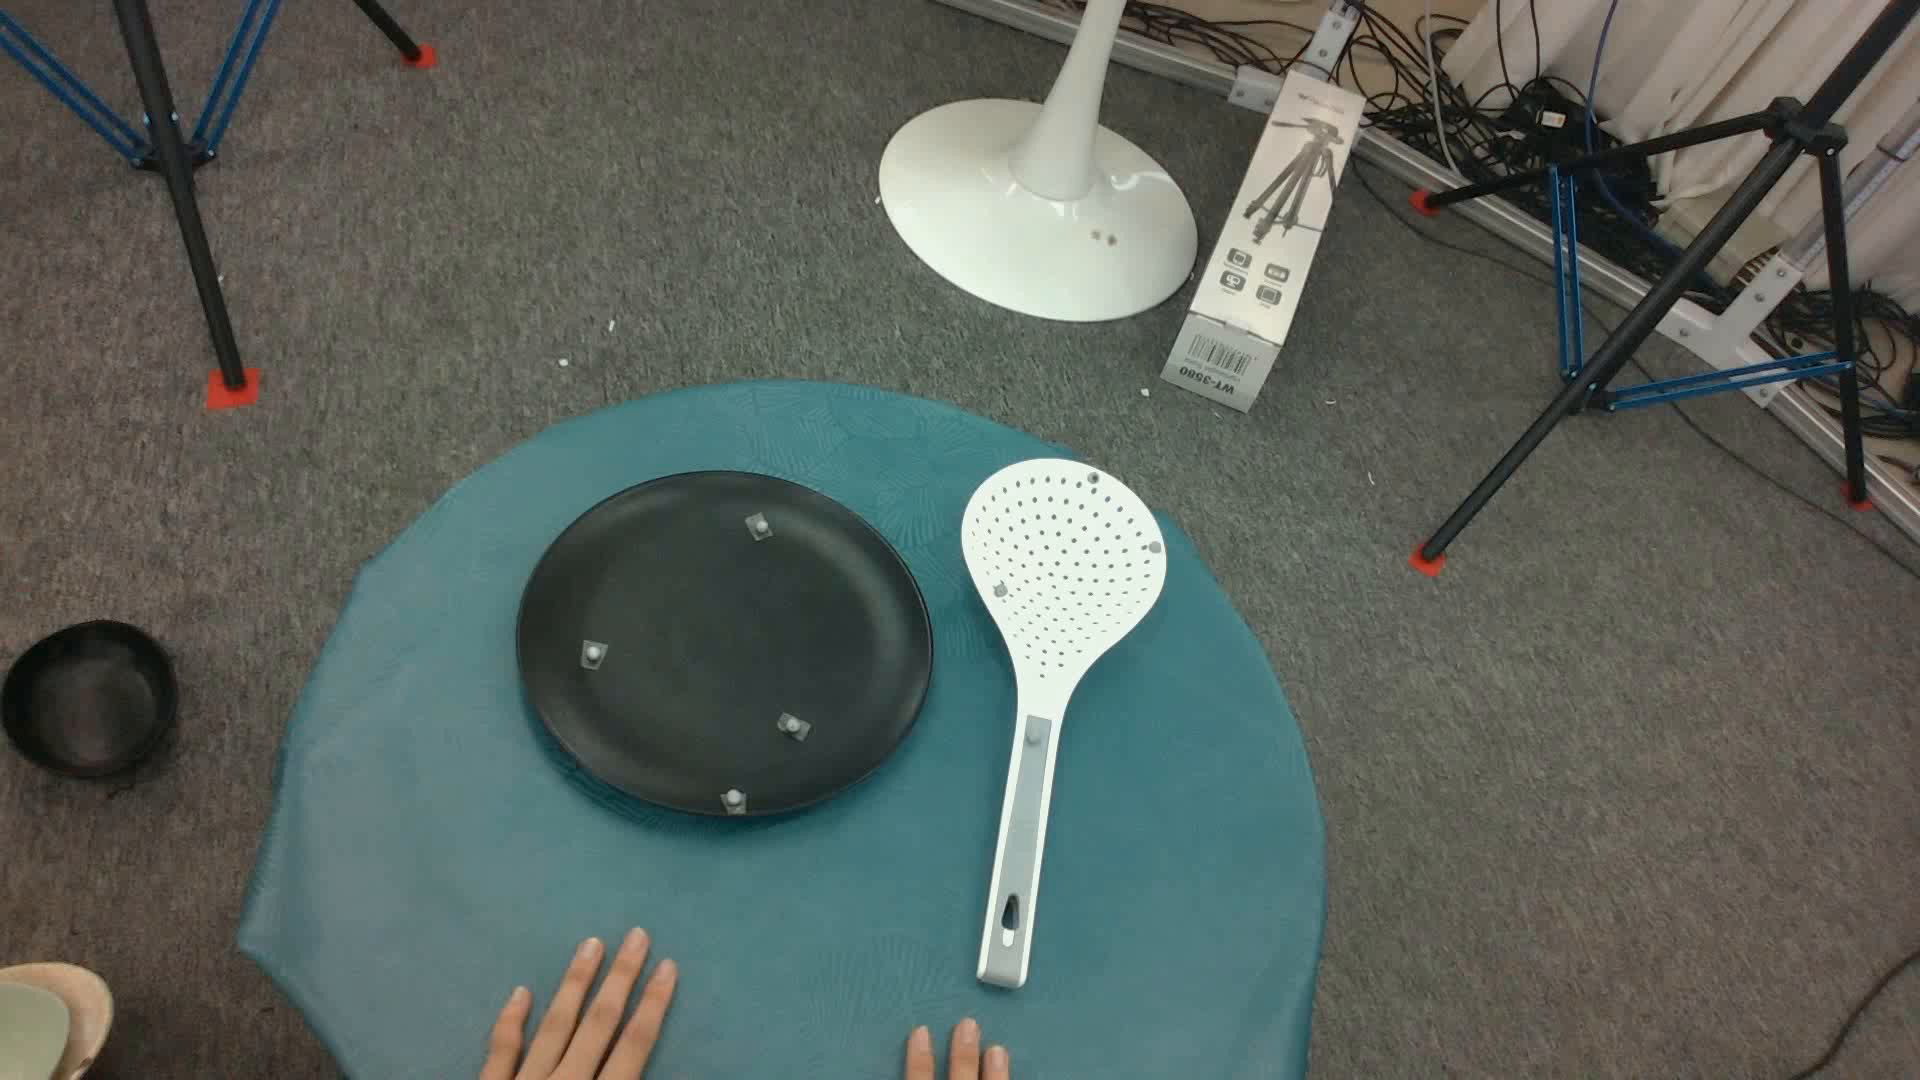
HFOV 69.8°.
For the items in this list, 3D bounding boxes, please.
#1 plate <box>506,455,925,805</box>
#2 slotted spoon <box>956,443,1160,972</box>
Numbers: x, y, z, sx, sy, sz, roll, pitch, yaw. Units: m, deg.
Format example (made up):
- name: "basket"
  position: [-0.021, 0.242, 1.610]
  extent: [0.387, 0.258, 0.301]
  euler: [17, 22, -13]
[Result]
- name: "plate"
  position: [-0.142, 0.049, 0.820]
  extent: [0.244, 0.023, 0.245]
  euler: [8, 52, -11]
- name: "slotted spoon"
  position: [0.045, 0.086, 0.834]
  extent: [0.136, 0.045, 0.351]
  euler: [14, 52, -4]
